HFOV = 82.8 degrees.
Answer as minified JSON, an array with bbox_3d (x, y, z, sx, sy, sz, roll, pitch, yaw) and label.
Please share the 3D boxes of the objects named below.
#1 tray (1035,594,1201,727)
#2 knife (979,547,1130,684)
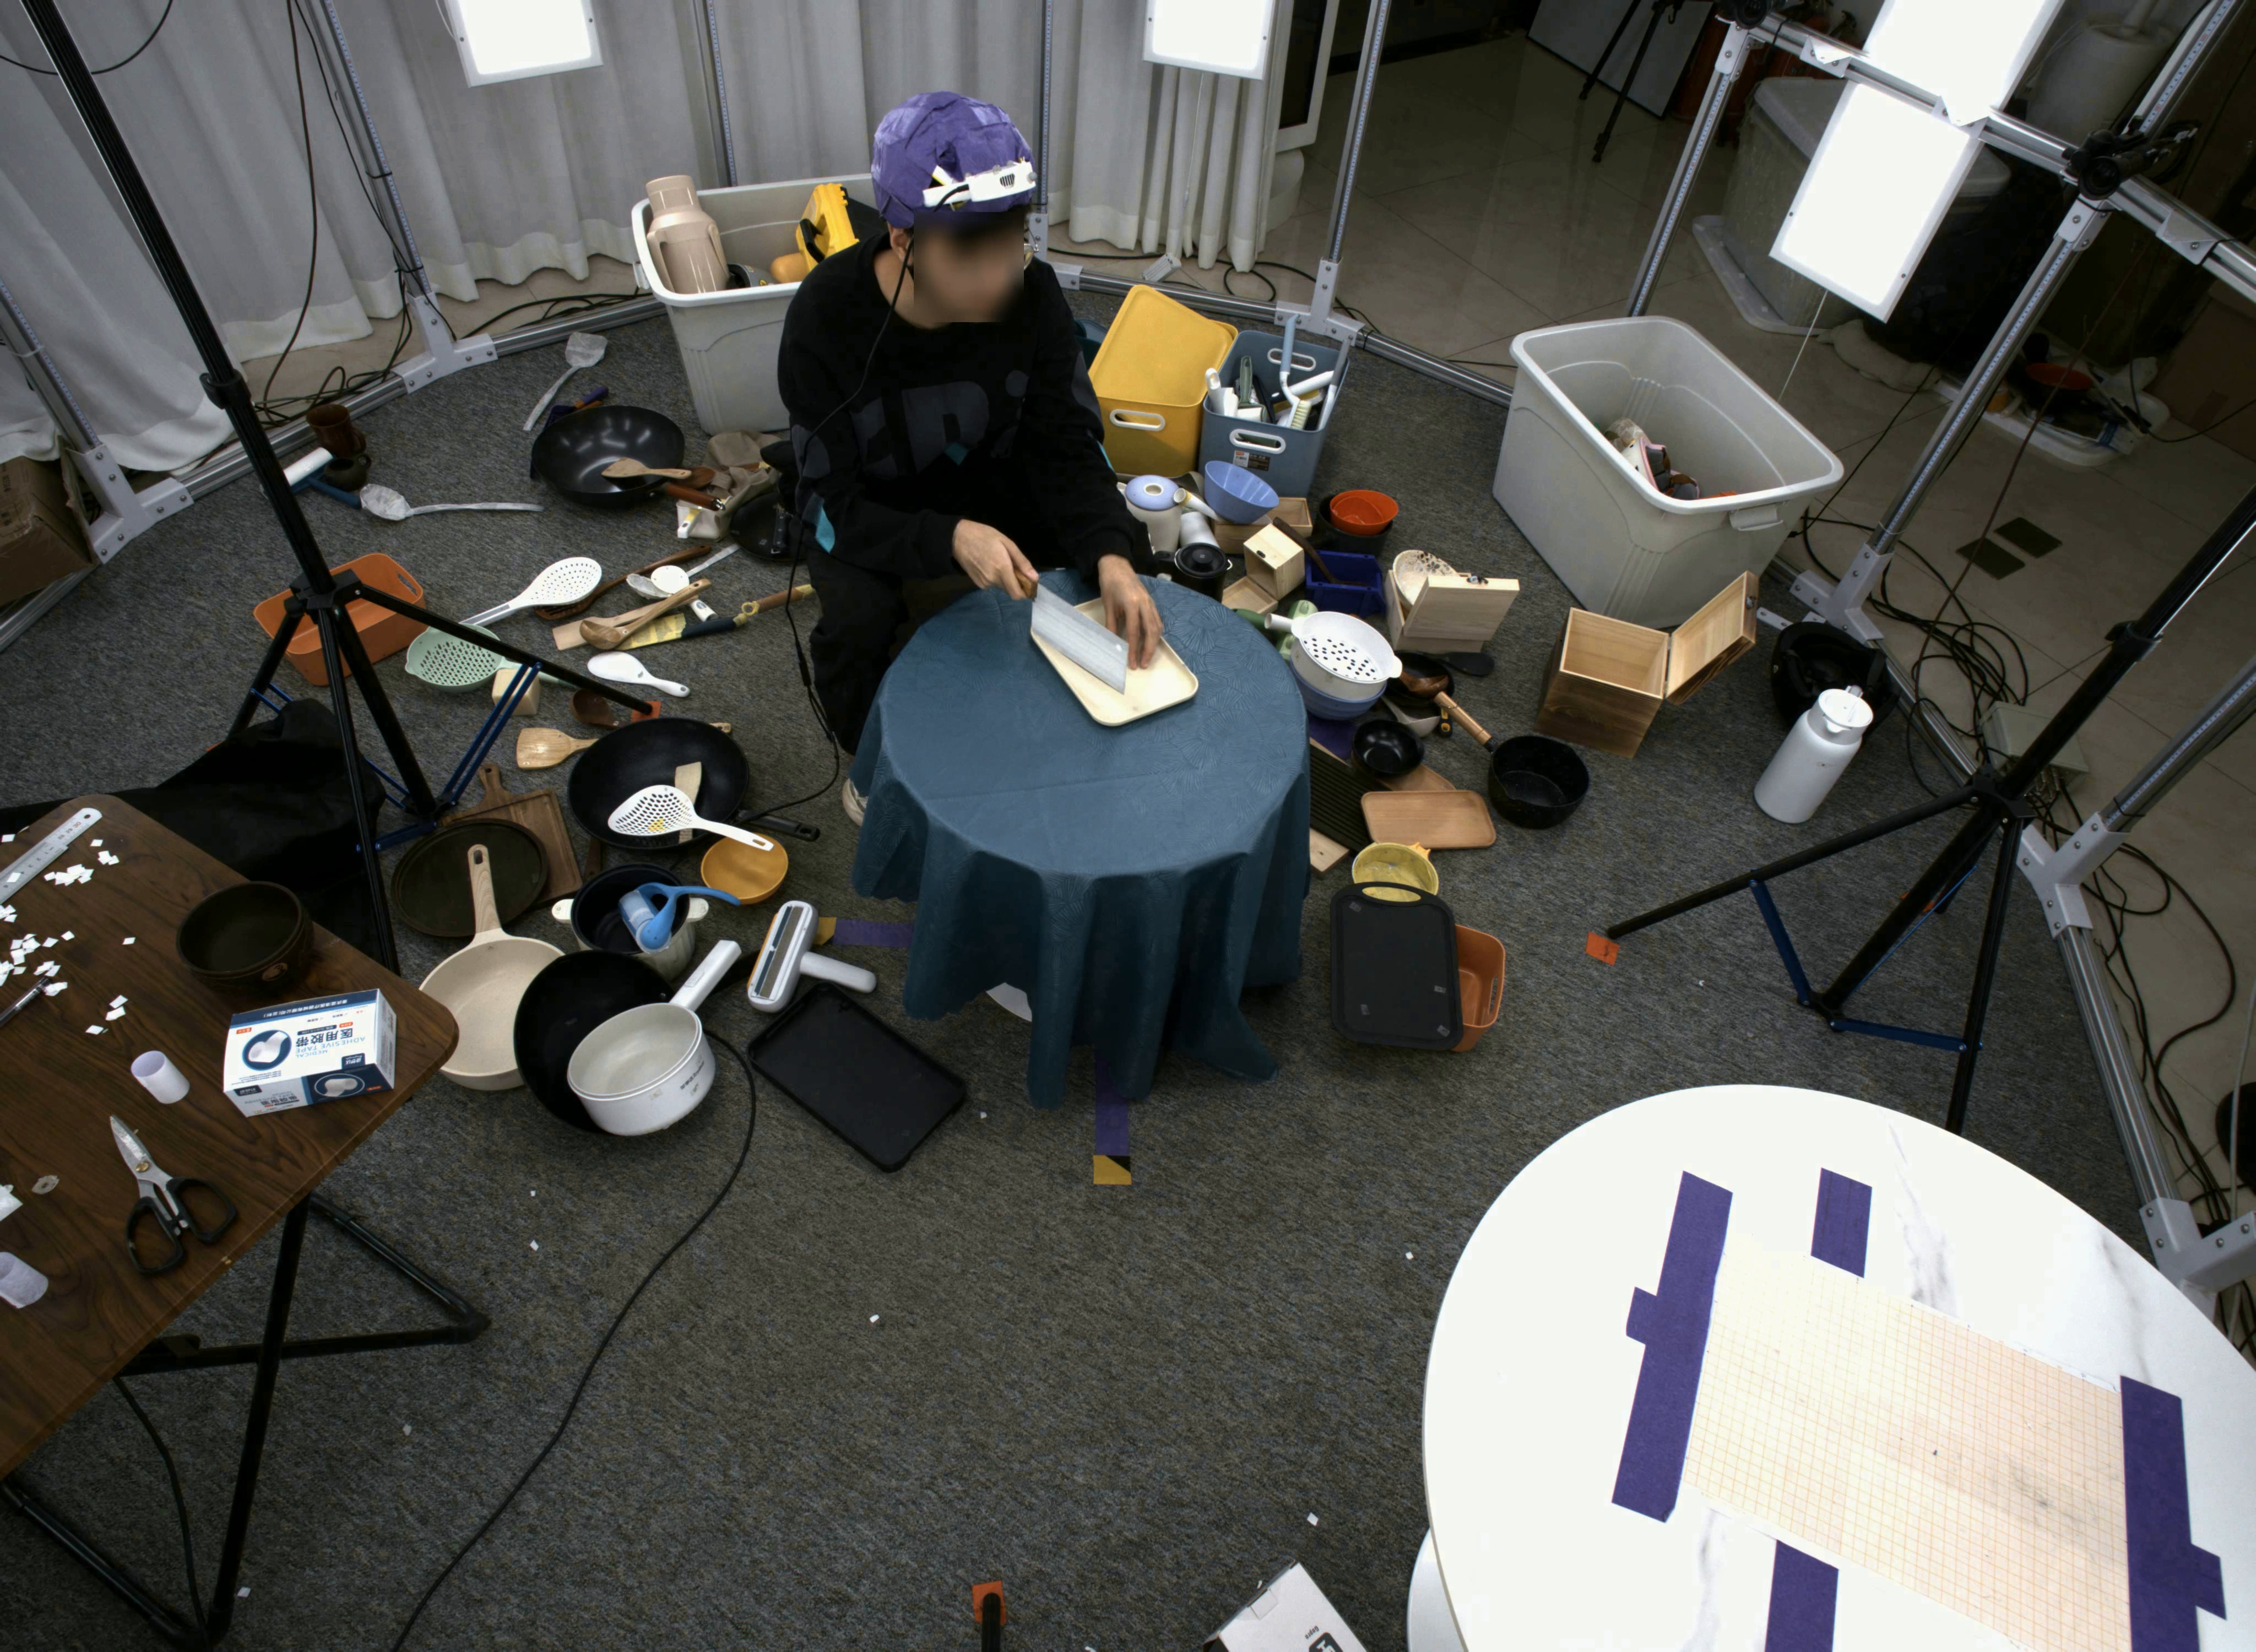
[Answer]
[{"bbox_3d":[-0.016,-0.242,1.865,0.172,0.017,0.245,-22,54,-19],"label":"tray"},{"bbox_3d":[-0.106,-0.294,1.812,0.021,0.091,0.310,-31,55,-33],"label":"knife"}]
